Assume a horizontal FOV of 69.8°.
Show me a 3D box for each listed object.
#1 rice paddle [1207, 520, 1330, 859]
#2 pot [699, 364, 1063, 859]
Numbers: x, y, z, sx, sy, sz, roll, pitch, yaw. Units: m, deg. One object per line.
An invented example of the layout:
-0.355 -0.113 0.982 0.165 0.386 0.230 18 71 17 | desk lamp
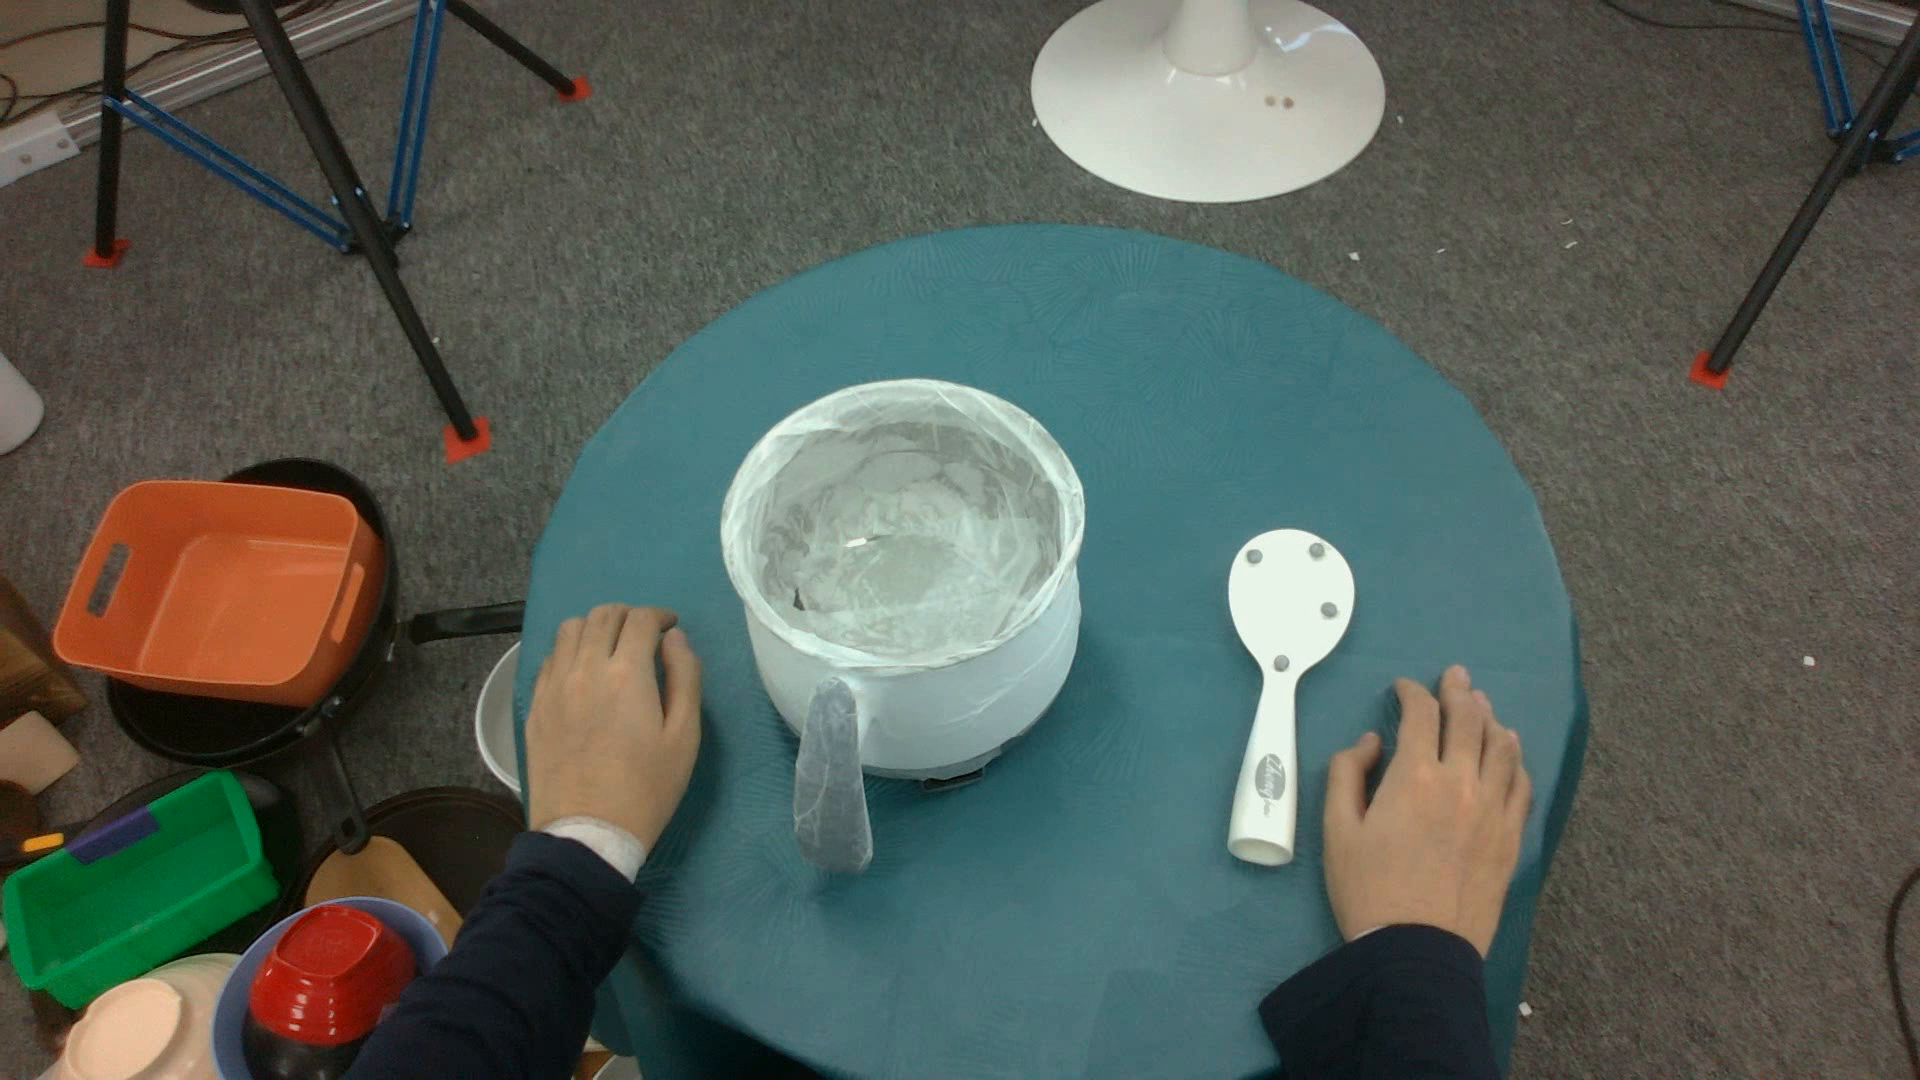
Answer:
0.161 0.070 0.741 0.069 0.029 0.206 11 56 6 | rice paddle
-0.042 0.038 0.701 0.178 0.136 0.235 10 54 11 | pot
